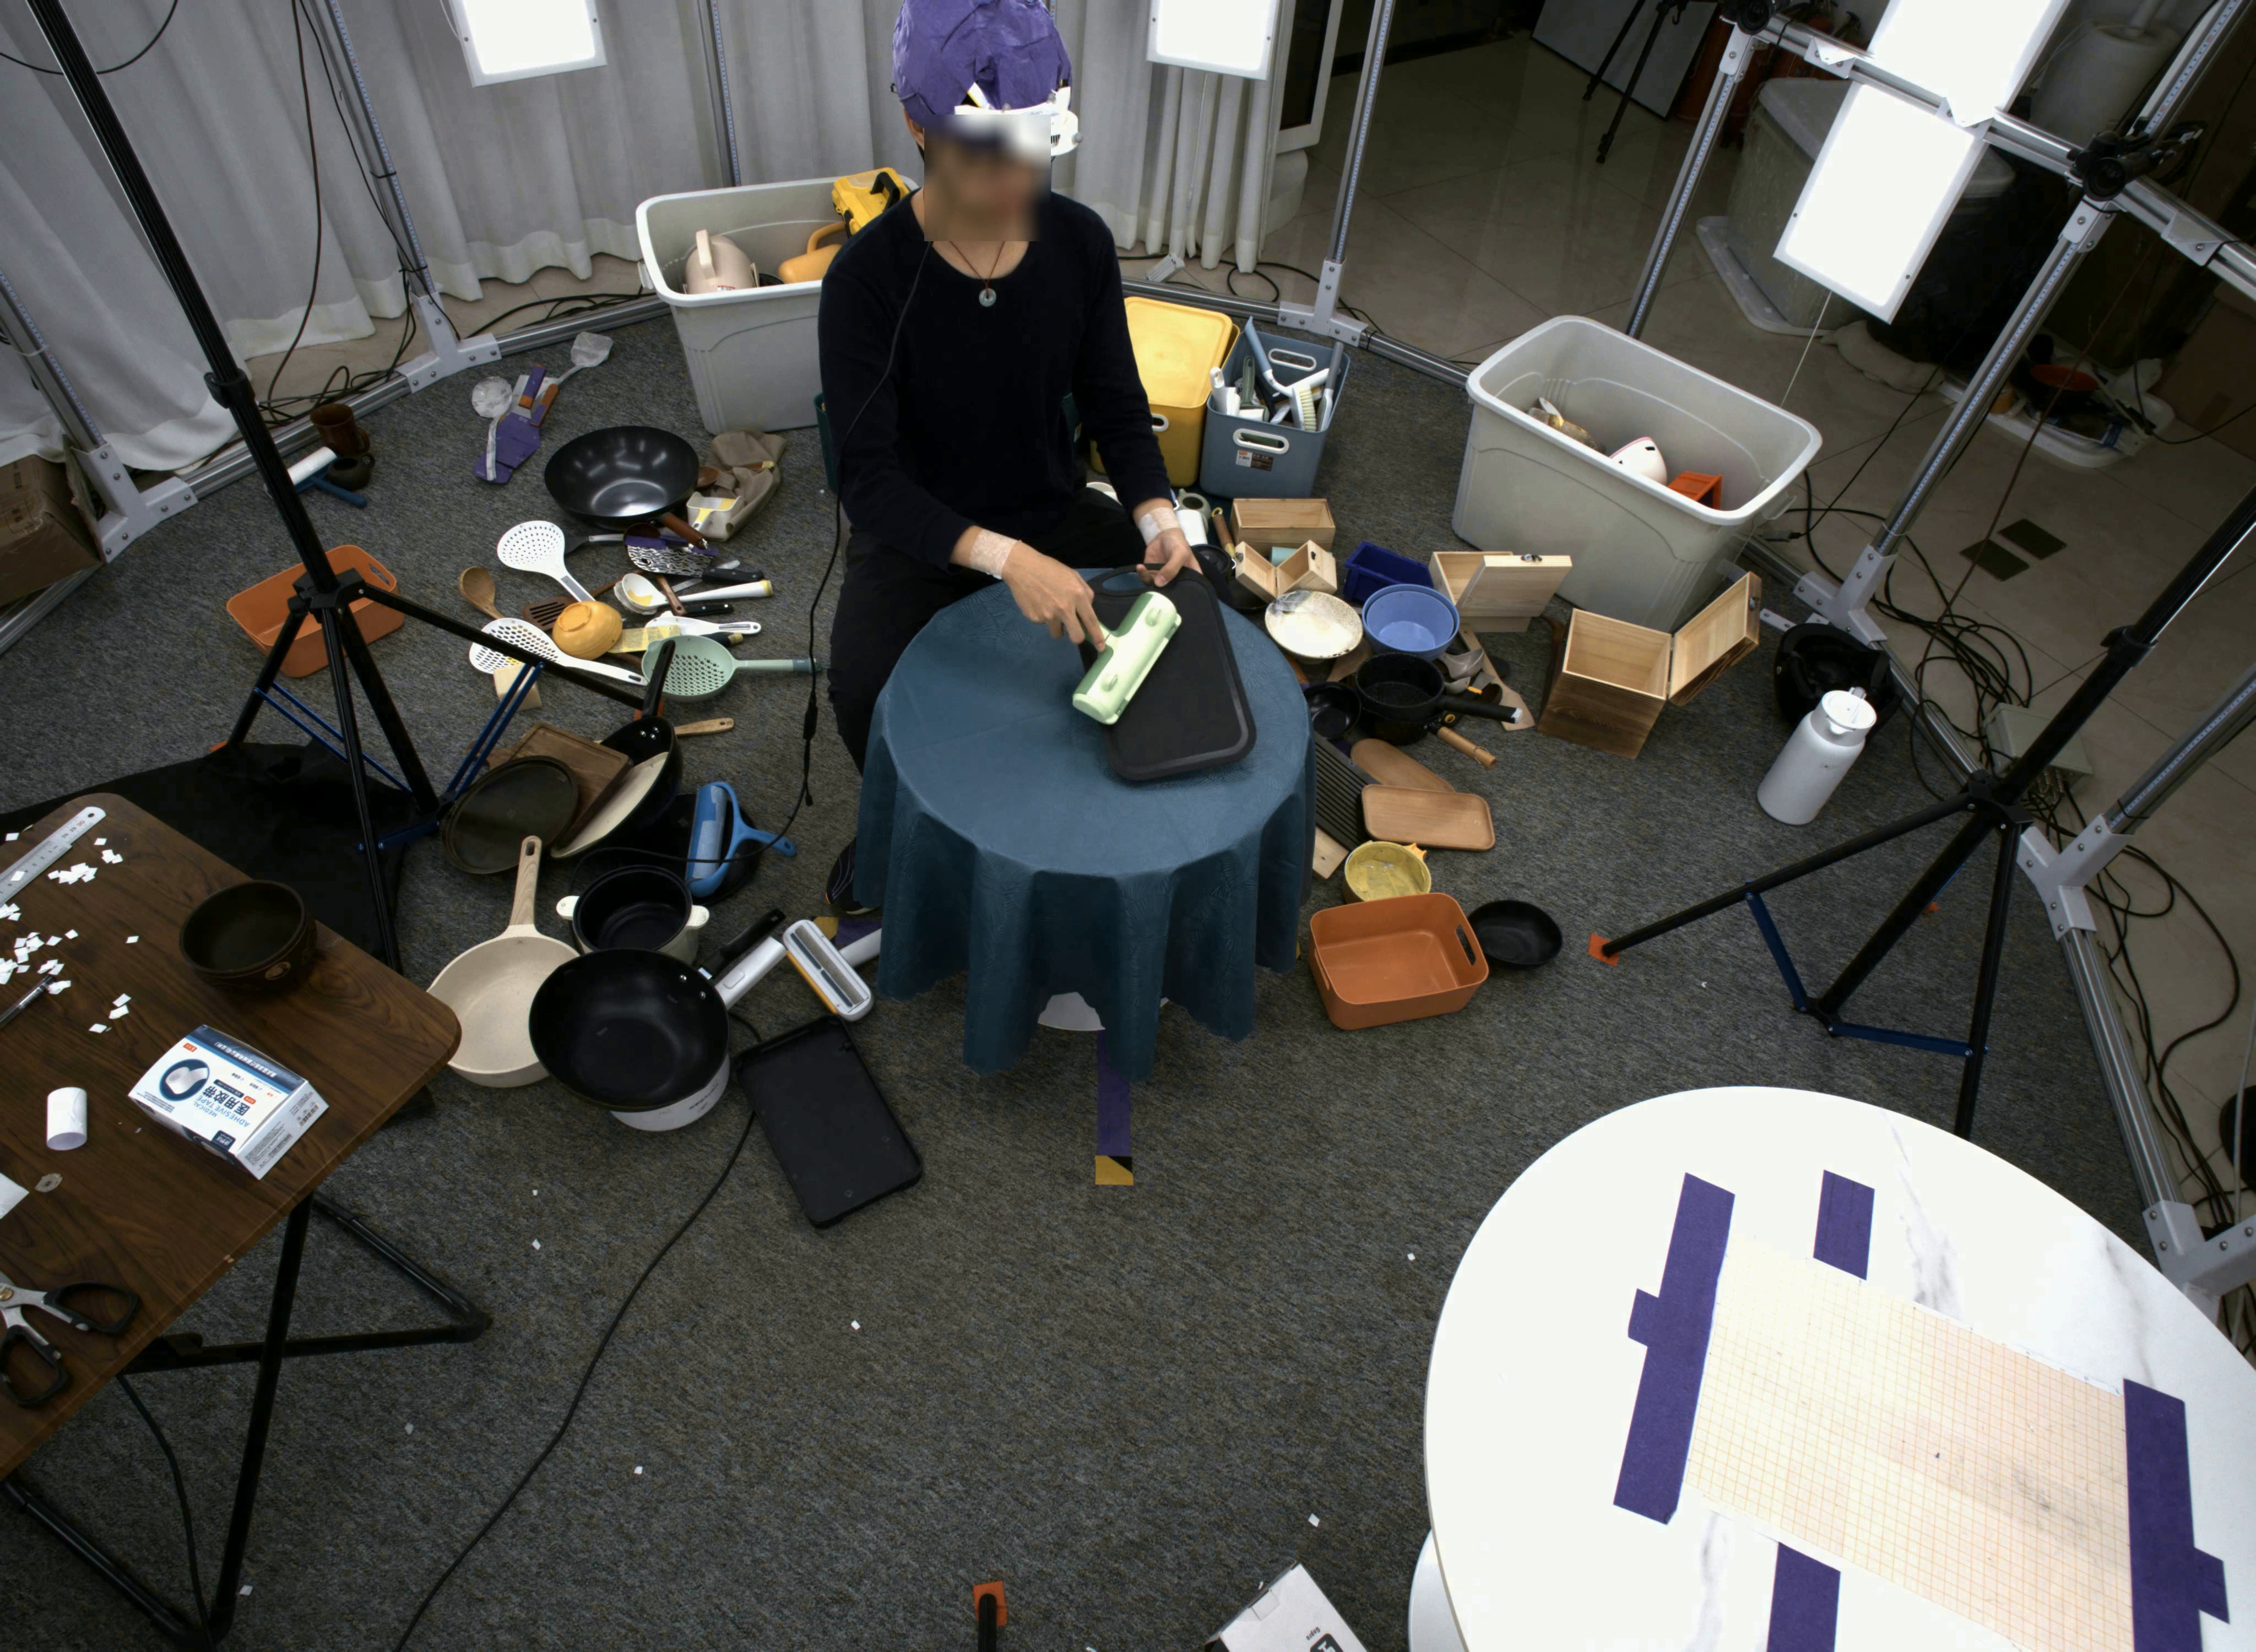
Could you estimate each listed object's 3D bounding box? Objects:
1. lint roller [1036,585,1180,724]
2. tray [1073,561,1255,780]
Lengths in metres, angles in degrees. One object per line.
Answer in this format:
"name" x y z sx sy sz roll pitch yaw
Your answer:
"lint roller" -0.040 -0.265 1.719 0.181 0.082 0.201 39 69 -20
"tray" 0.044 -0.224 1.770 0.211 0.009 0.331 -11 70 -8
